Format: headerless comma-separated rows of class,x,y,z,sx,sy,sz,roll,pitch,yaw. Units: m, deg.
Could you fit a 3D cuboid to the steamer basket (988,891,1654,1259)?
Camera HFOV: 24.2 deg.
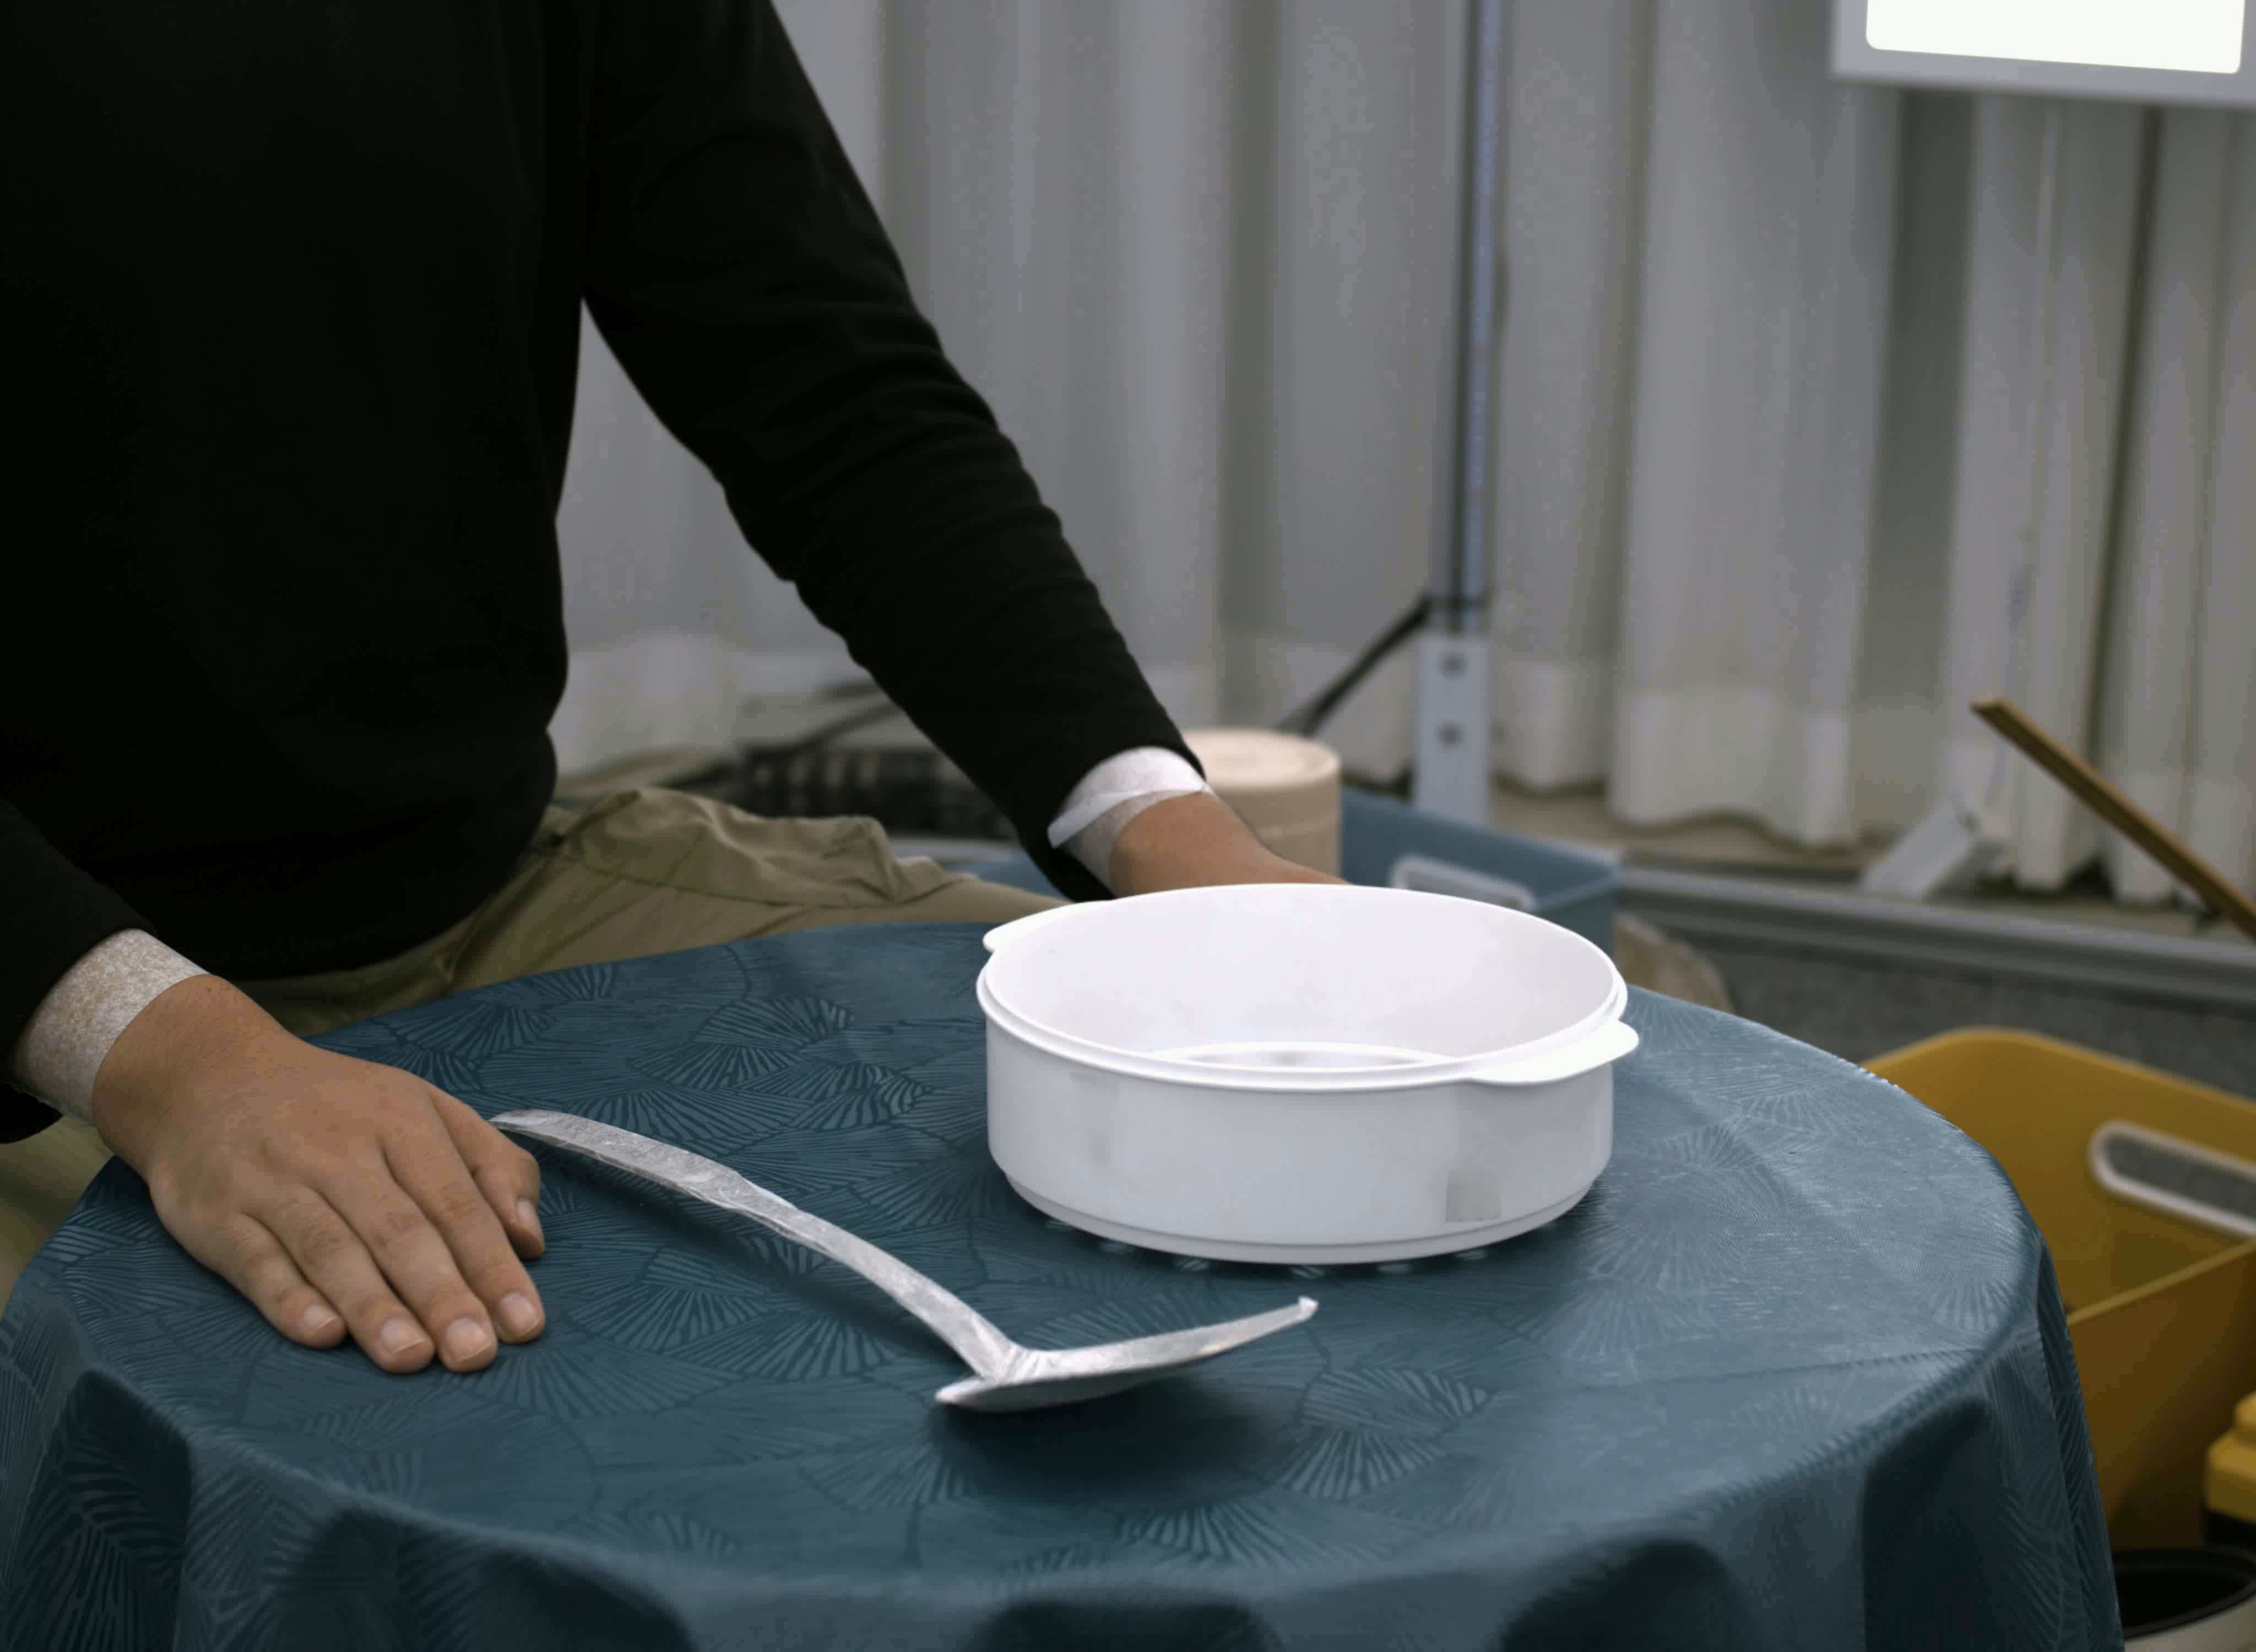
steamer basket,0.057,0.076,1.622,0.227,0.070,0.203,13,19,40

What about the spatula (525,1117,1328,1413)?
spatula,-0.084,0.117,1.529,0.099,0.045,0.360,-14,21,-36
